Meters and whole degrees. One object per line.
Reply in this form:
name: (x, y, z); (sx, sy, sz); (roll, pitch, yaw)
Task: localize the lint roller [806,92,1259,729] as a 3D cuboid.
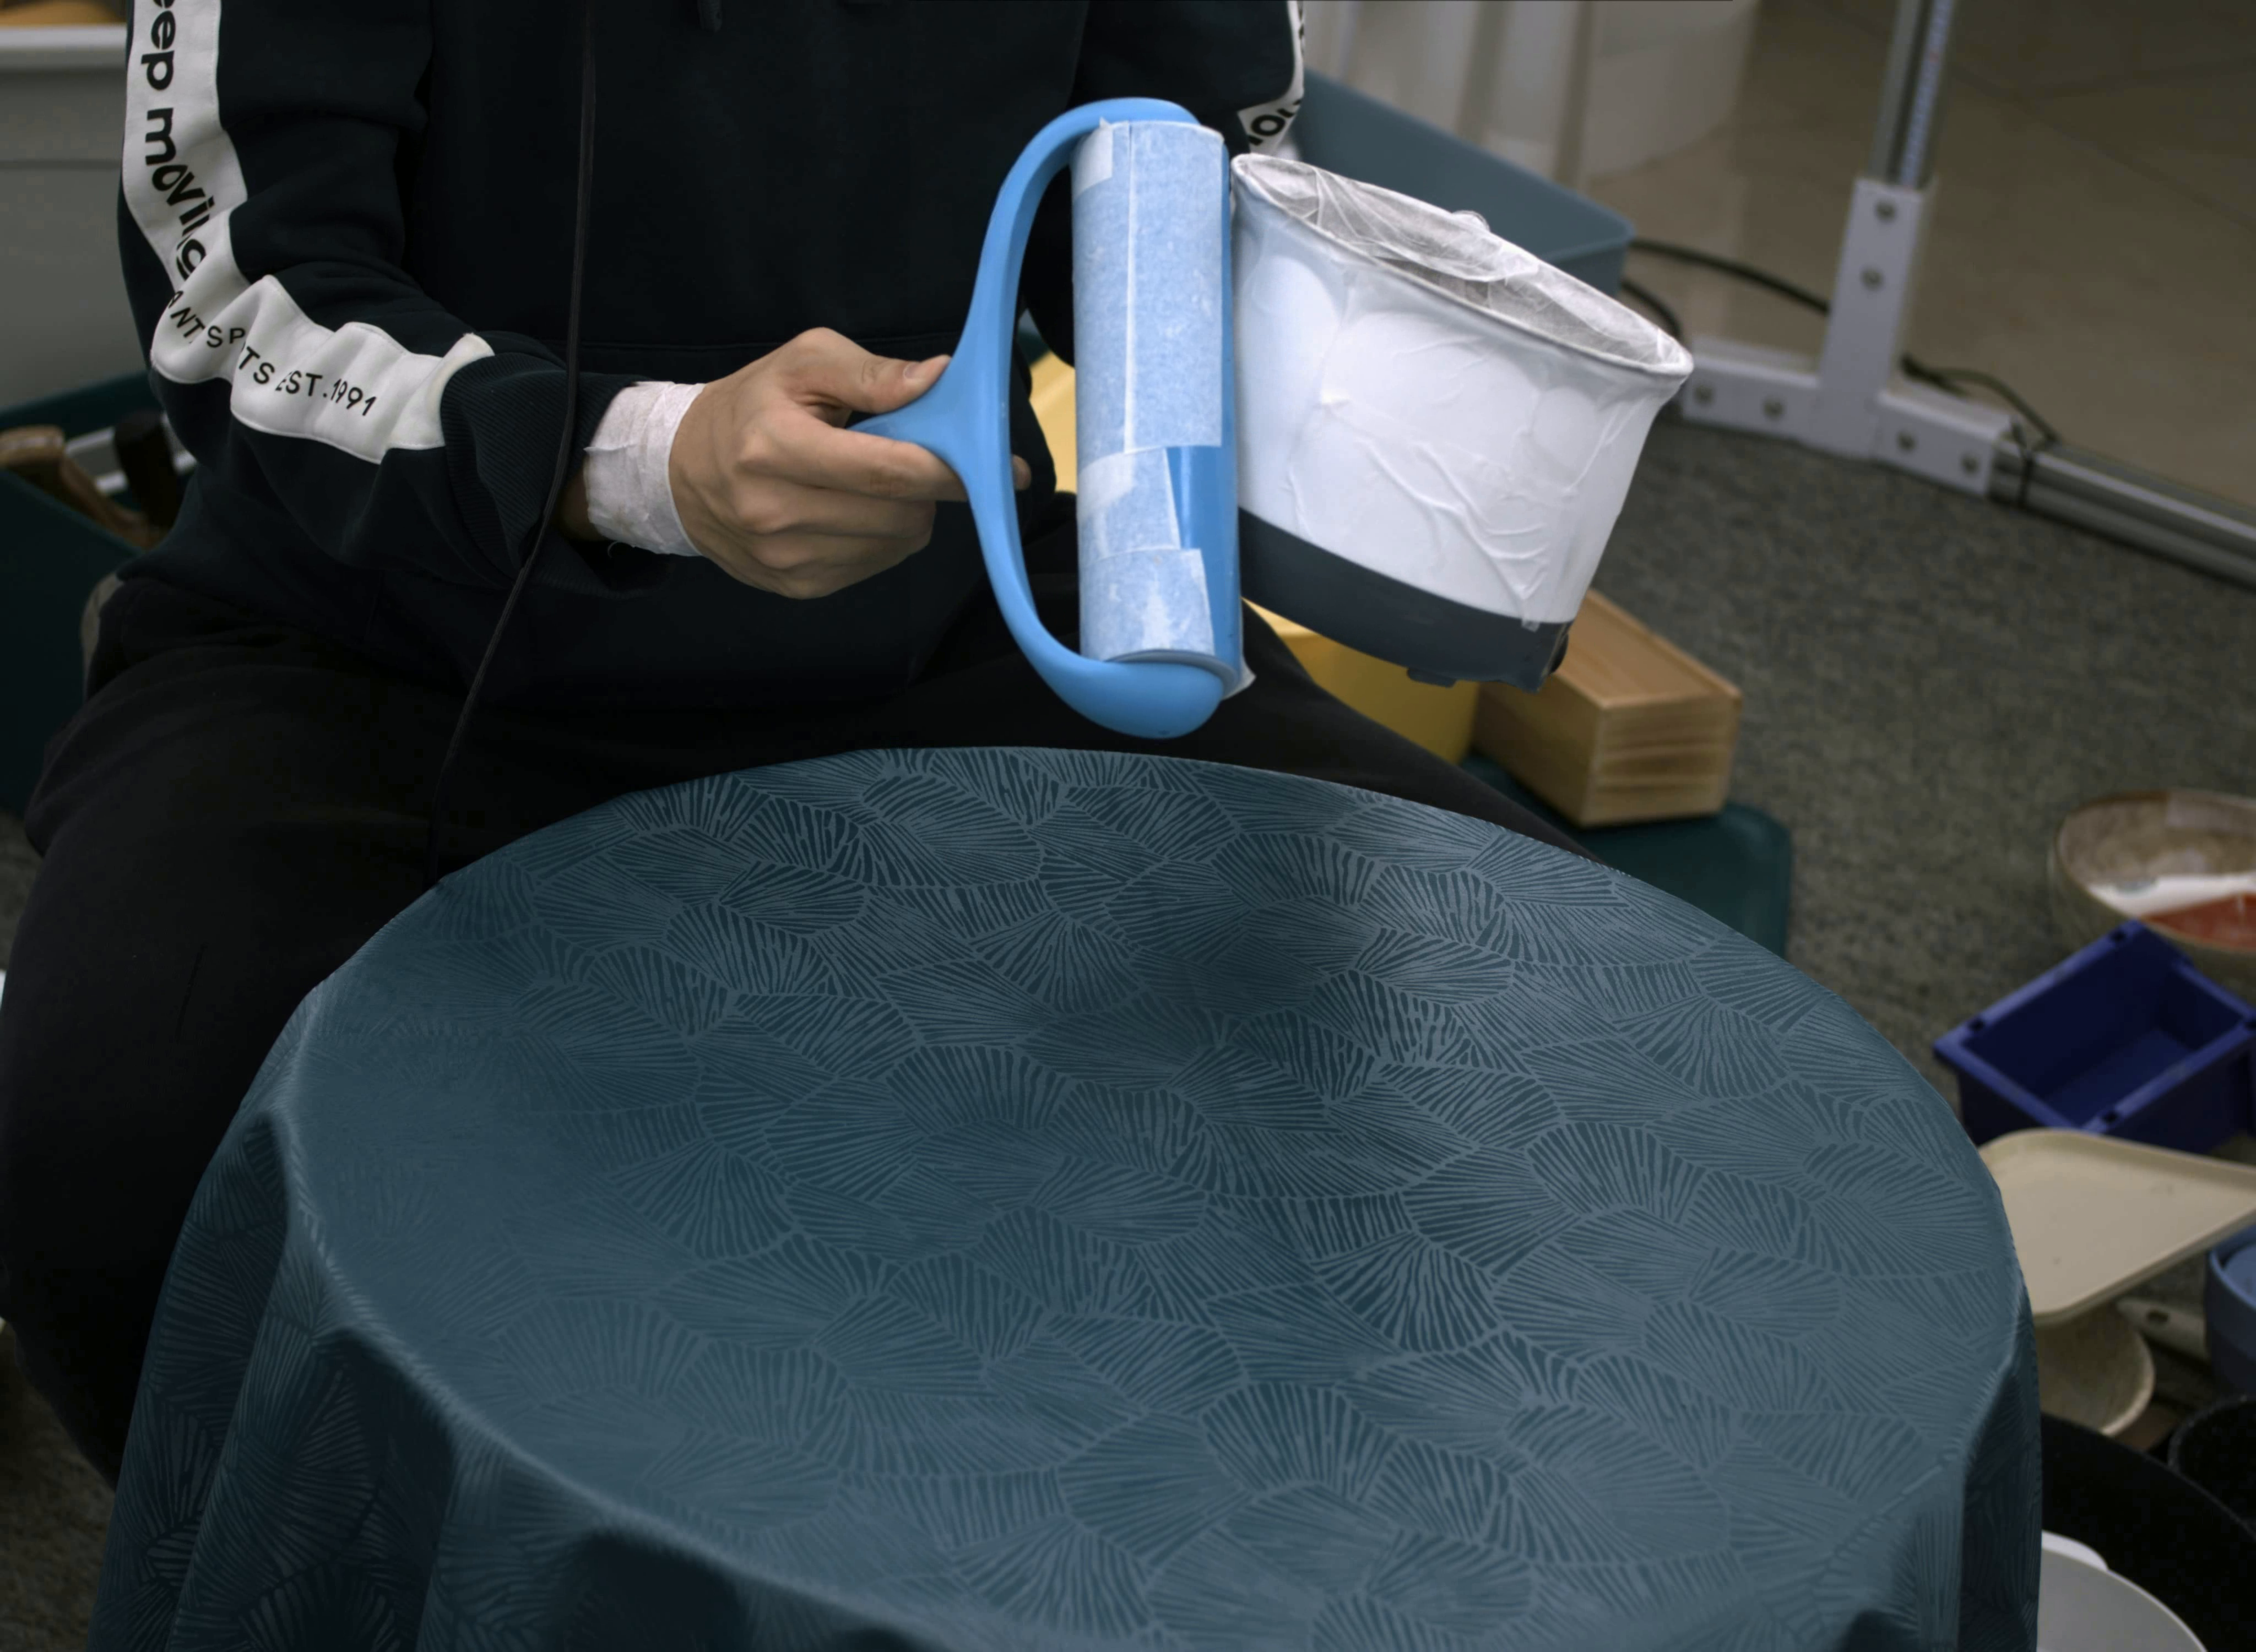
lint roller: (-0.042, -0.128, 1.802); (0.180, 0.230, 0.067); (-14, -22, 22)

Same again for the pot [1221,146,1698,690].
pot: (0.094, -0.149, 1.887); (0.178, 0.136, 0.234); (24, 16, -1)
